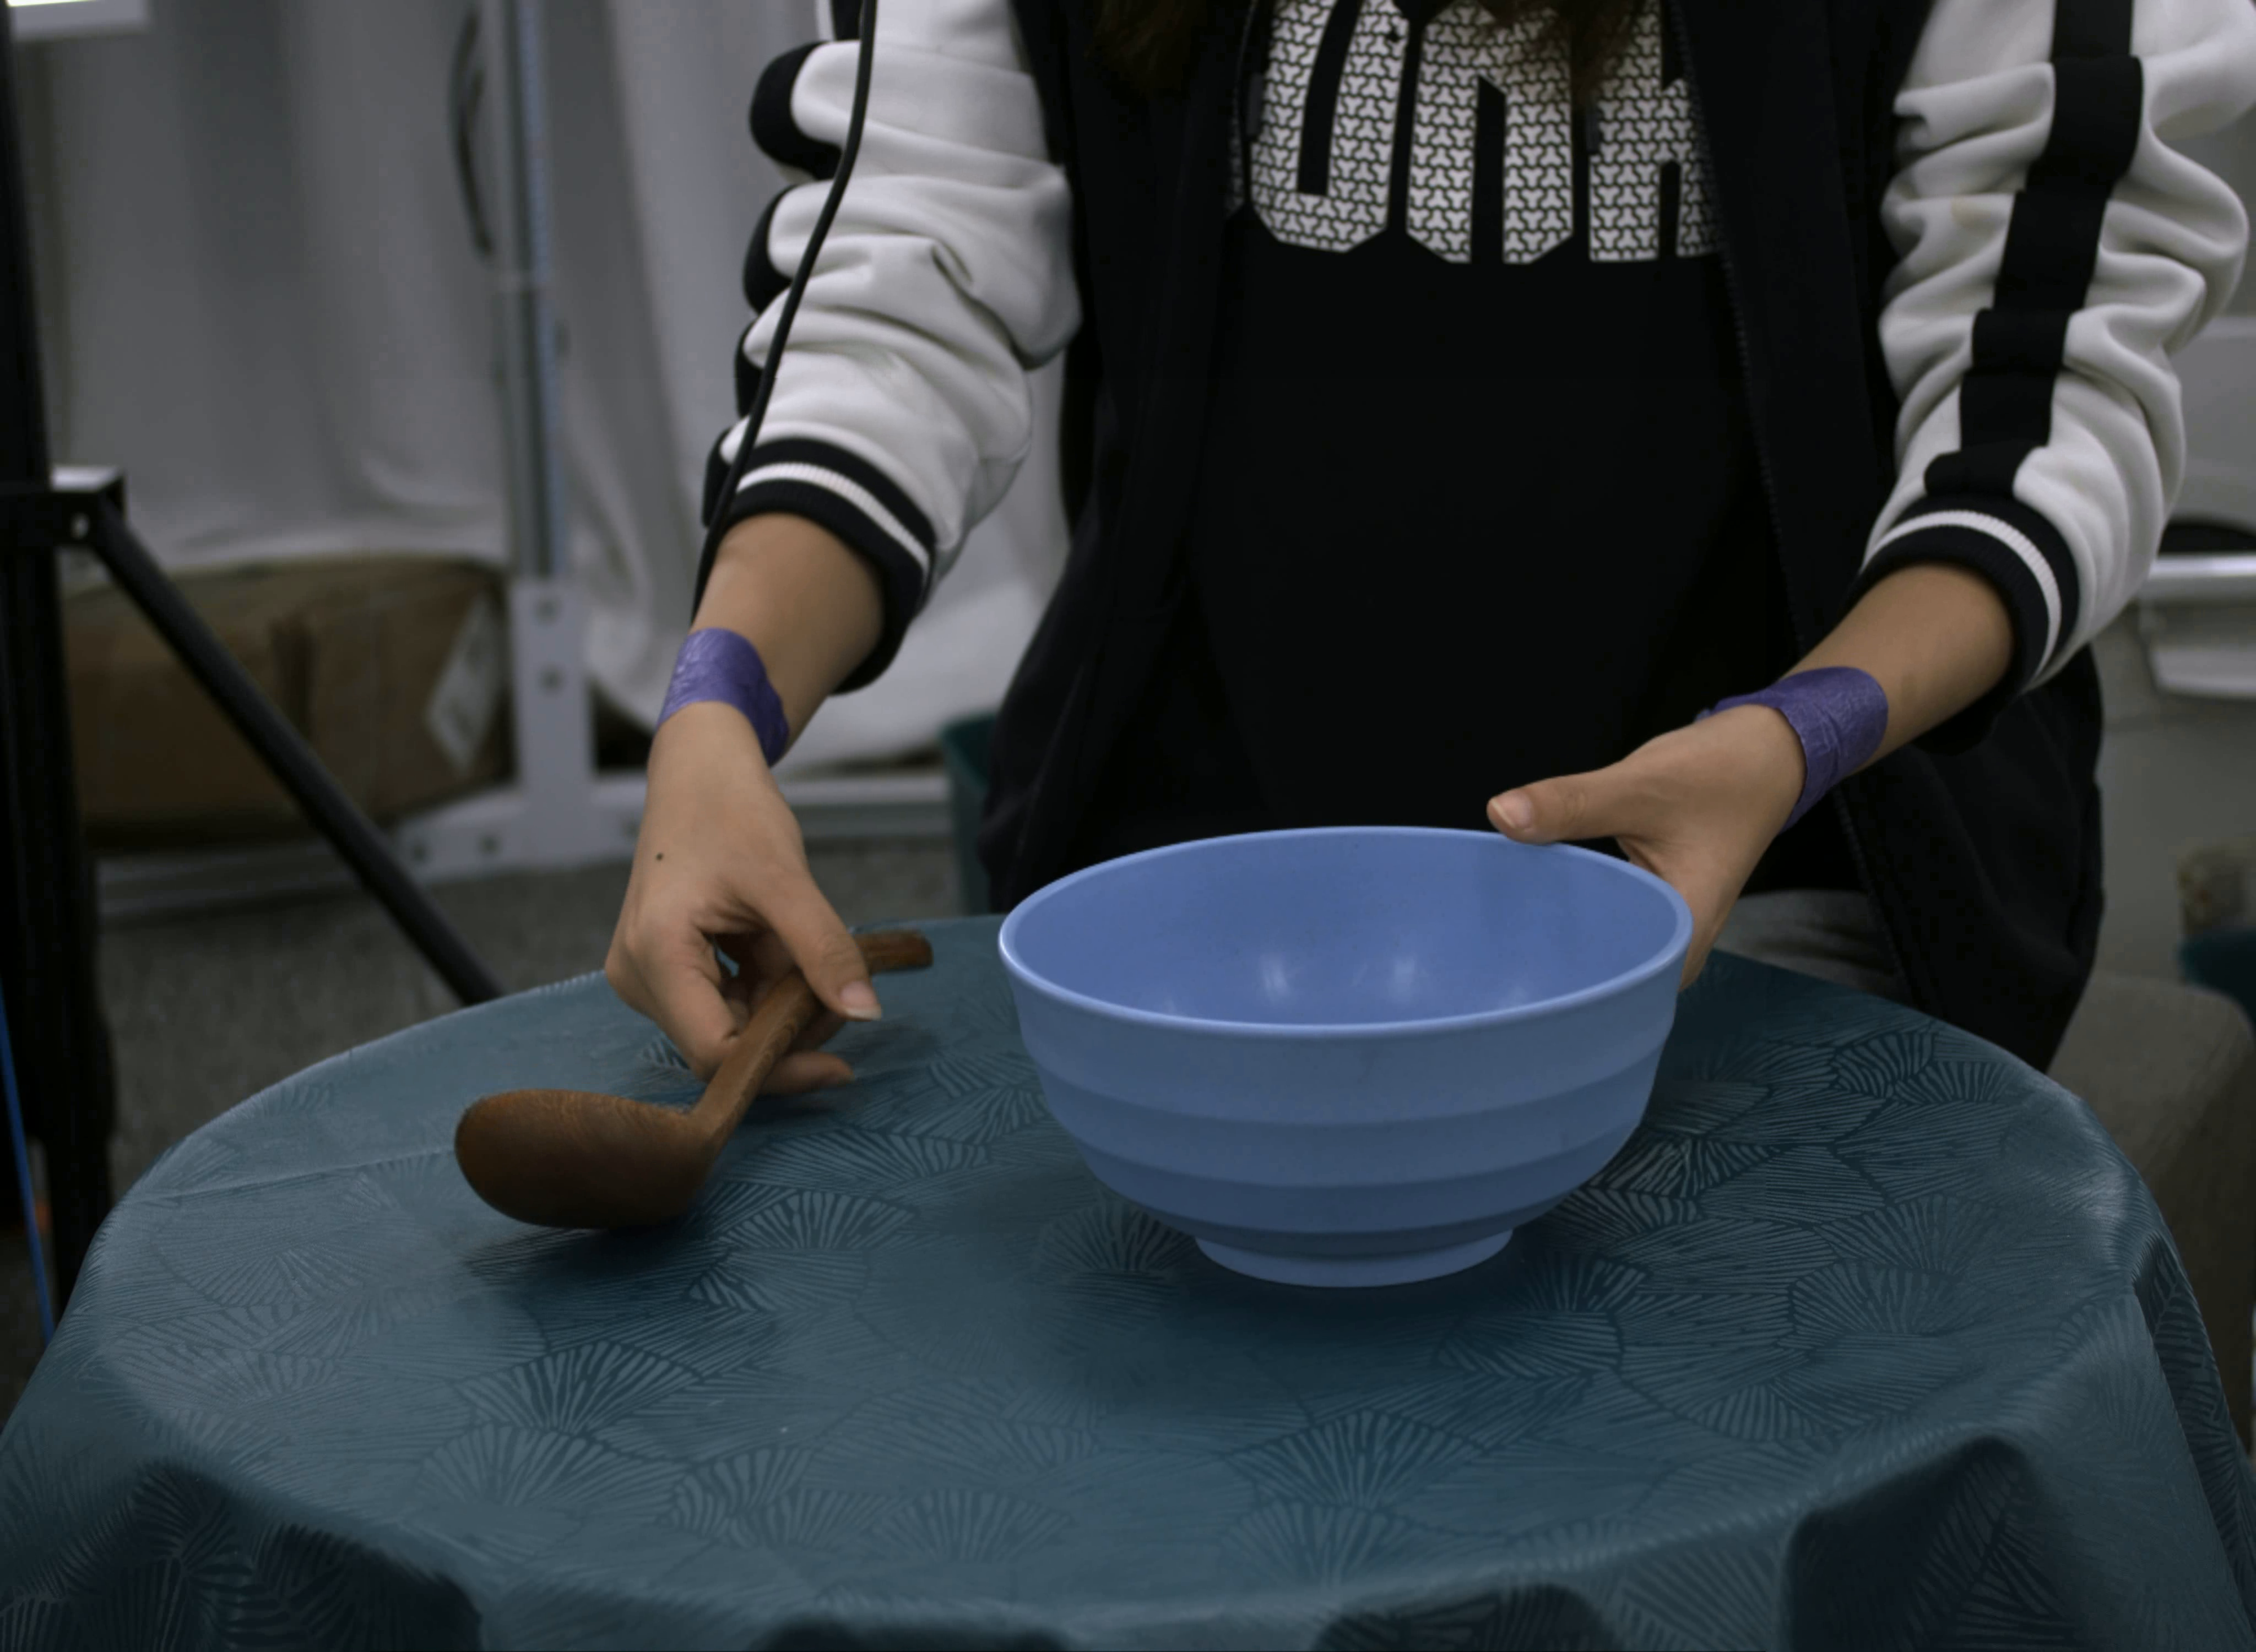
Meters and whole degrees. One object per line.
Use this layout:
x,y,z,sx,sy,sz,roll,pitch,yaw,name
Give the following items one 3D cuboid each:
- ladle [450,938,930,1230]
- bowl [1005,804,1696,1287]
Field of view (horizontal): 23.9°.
-0.121,0.061,1.608,0.077,0.065,0.257,-2,19,24,ladle
0.068,0.070,1.509,0.196,0.095,0.197,-8,17,1,bowl
